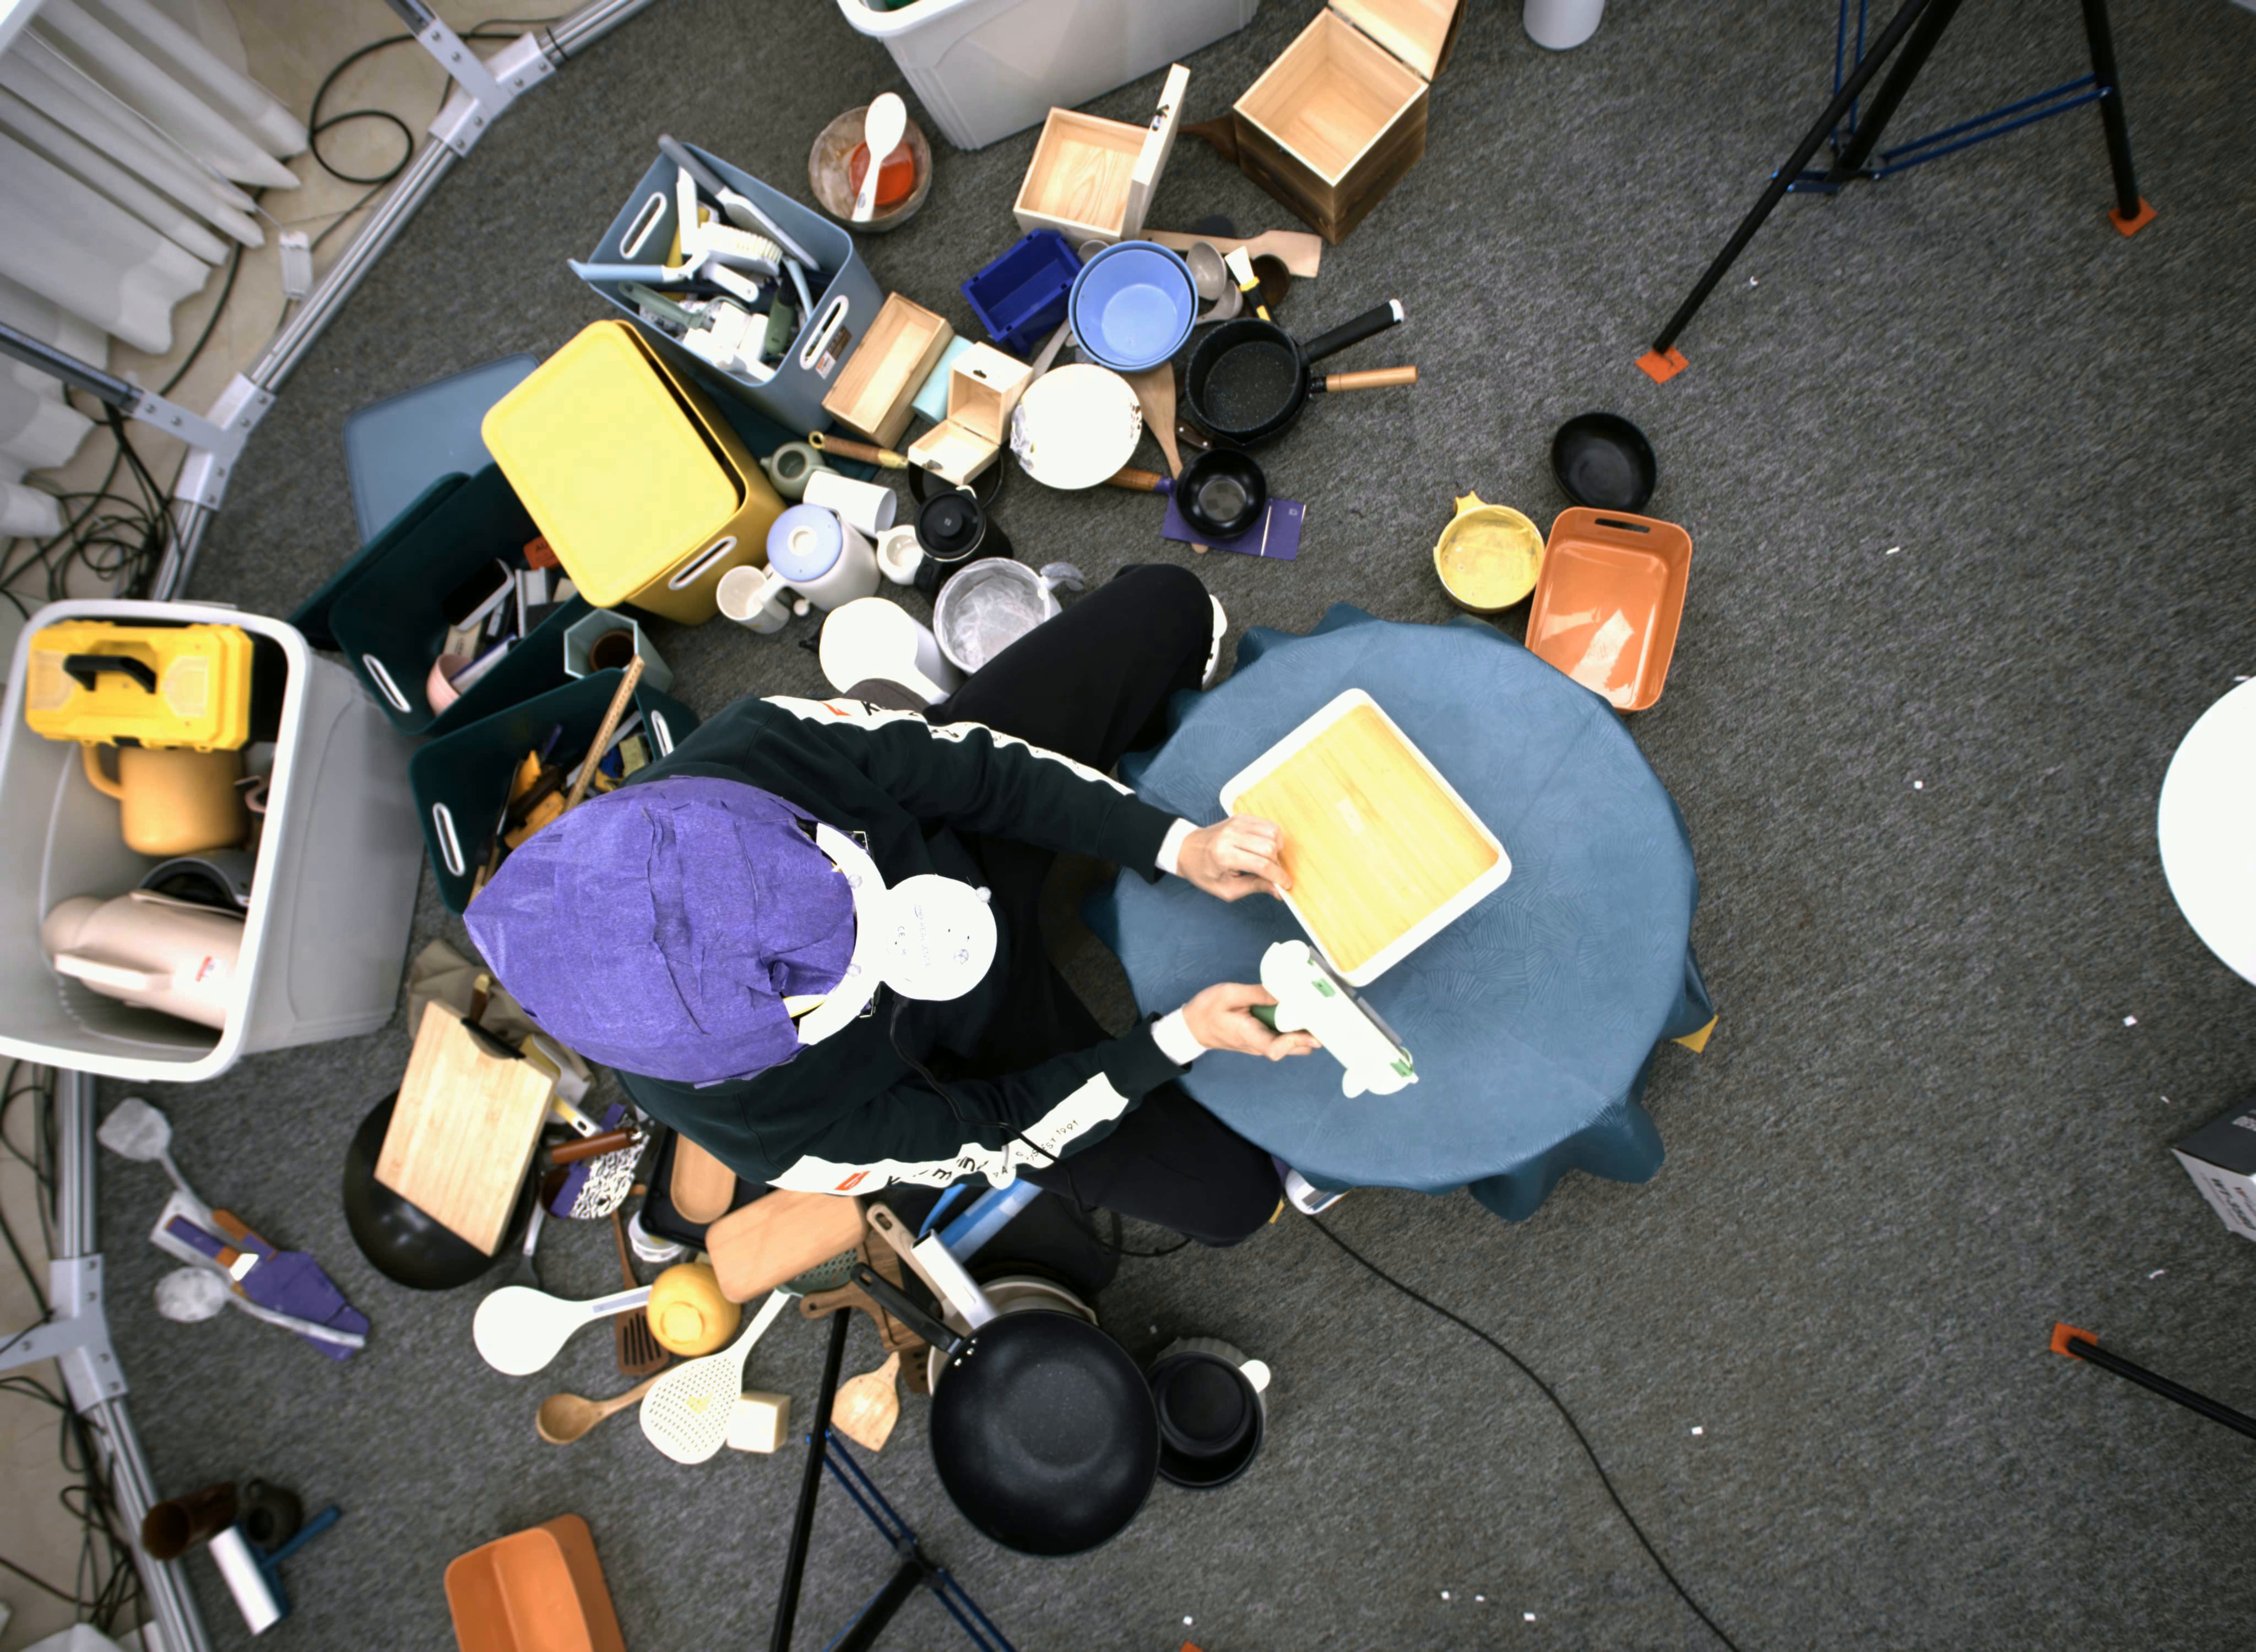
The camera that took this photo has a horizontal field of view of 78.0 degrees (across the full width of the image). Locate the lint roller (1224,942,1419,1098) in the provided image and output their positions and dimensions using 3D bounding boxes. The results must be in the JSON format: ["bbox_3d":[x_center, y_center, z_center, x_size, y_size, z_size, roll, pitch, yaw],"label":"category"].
[{"bbox_3d":[0.154,0.192,1.320,0.185,0.201,0.080,-11,46,43],"label":"lint roller"}]

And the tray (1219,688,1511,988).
[{"bbox_3d":[0.221,0.002,1.348,0.193,0.028,0.294,-40,44,9],"label":"tray"}]
